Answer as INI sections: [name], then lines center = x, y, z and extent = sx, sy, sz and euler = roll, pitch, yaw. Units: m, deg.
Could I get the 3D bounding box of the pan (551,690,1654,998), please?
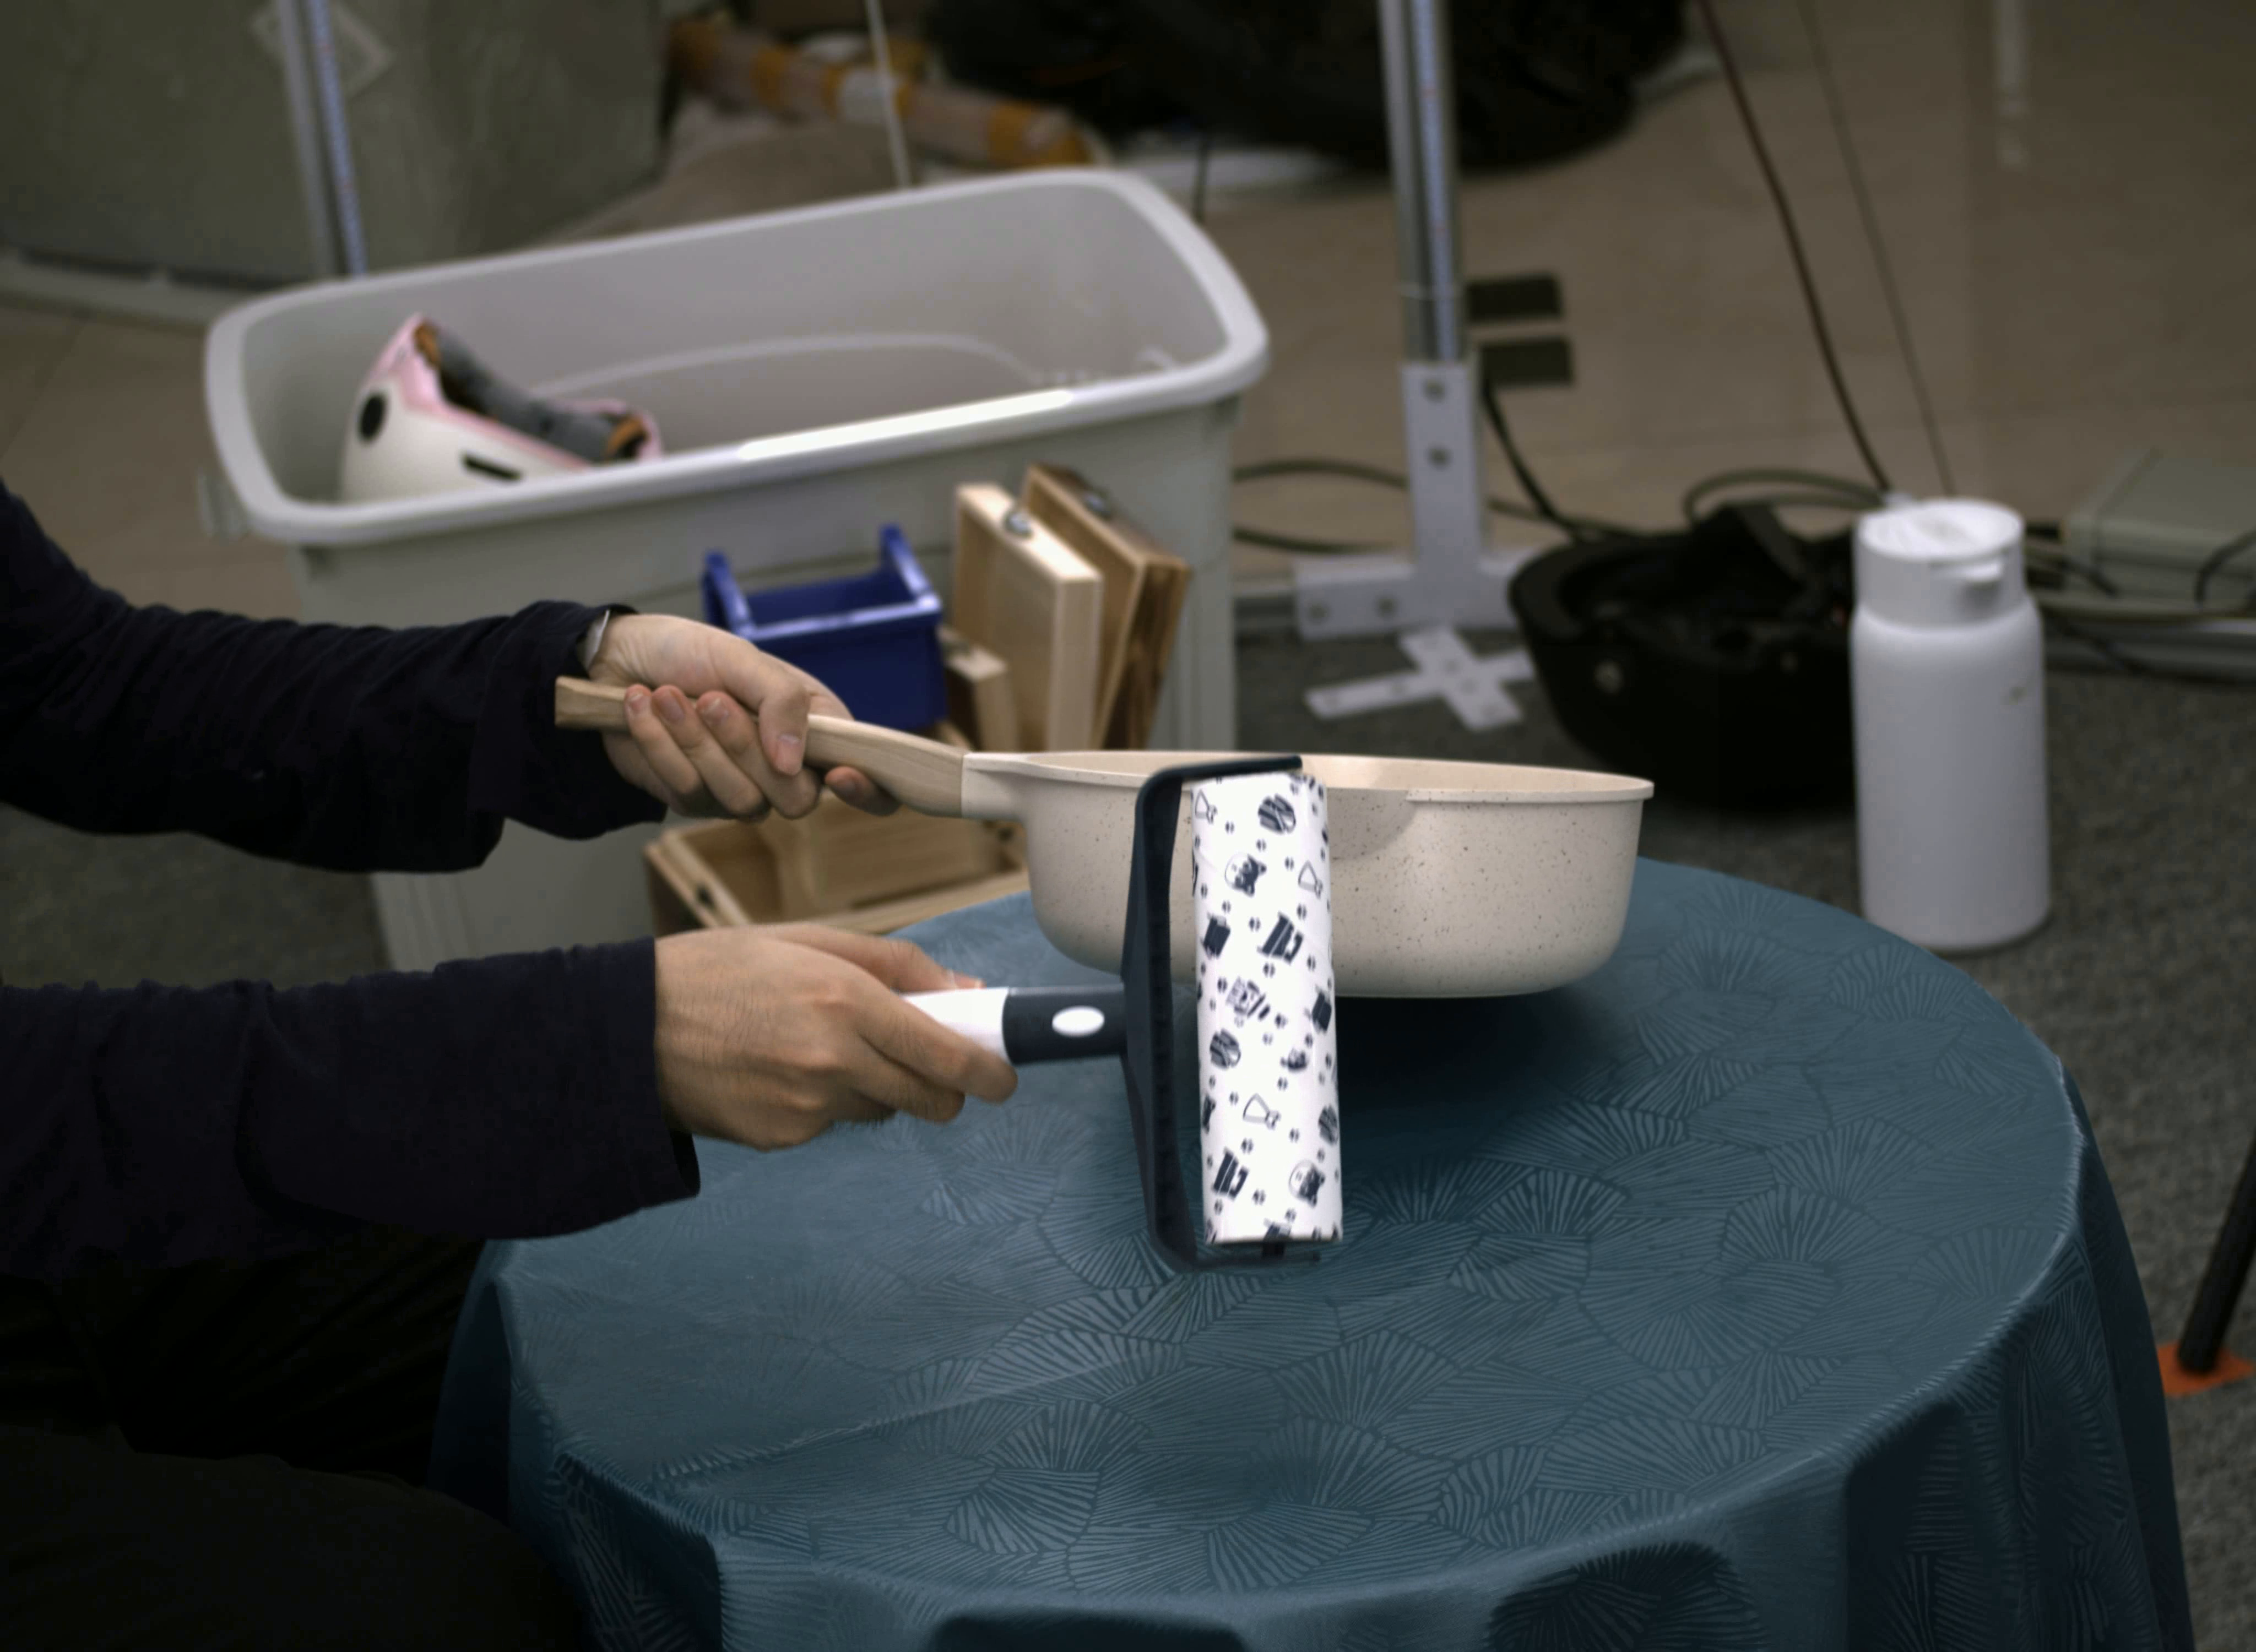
[pan]
center = -0.012, 0.005, 2.227
extent = 0.434, 0.102, 0.262
euler = 2, 5, 3

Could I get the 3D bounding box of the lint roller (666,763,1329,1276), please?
[lint roller]
center = -0.050, 0.076, 1.987
extent = 0.247, 0.176, 0.050
euler = -5, -6, 18
